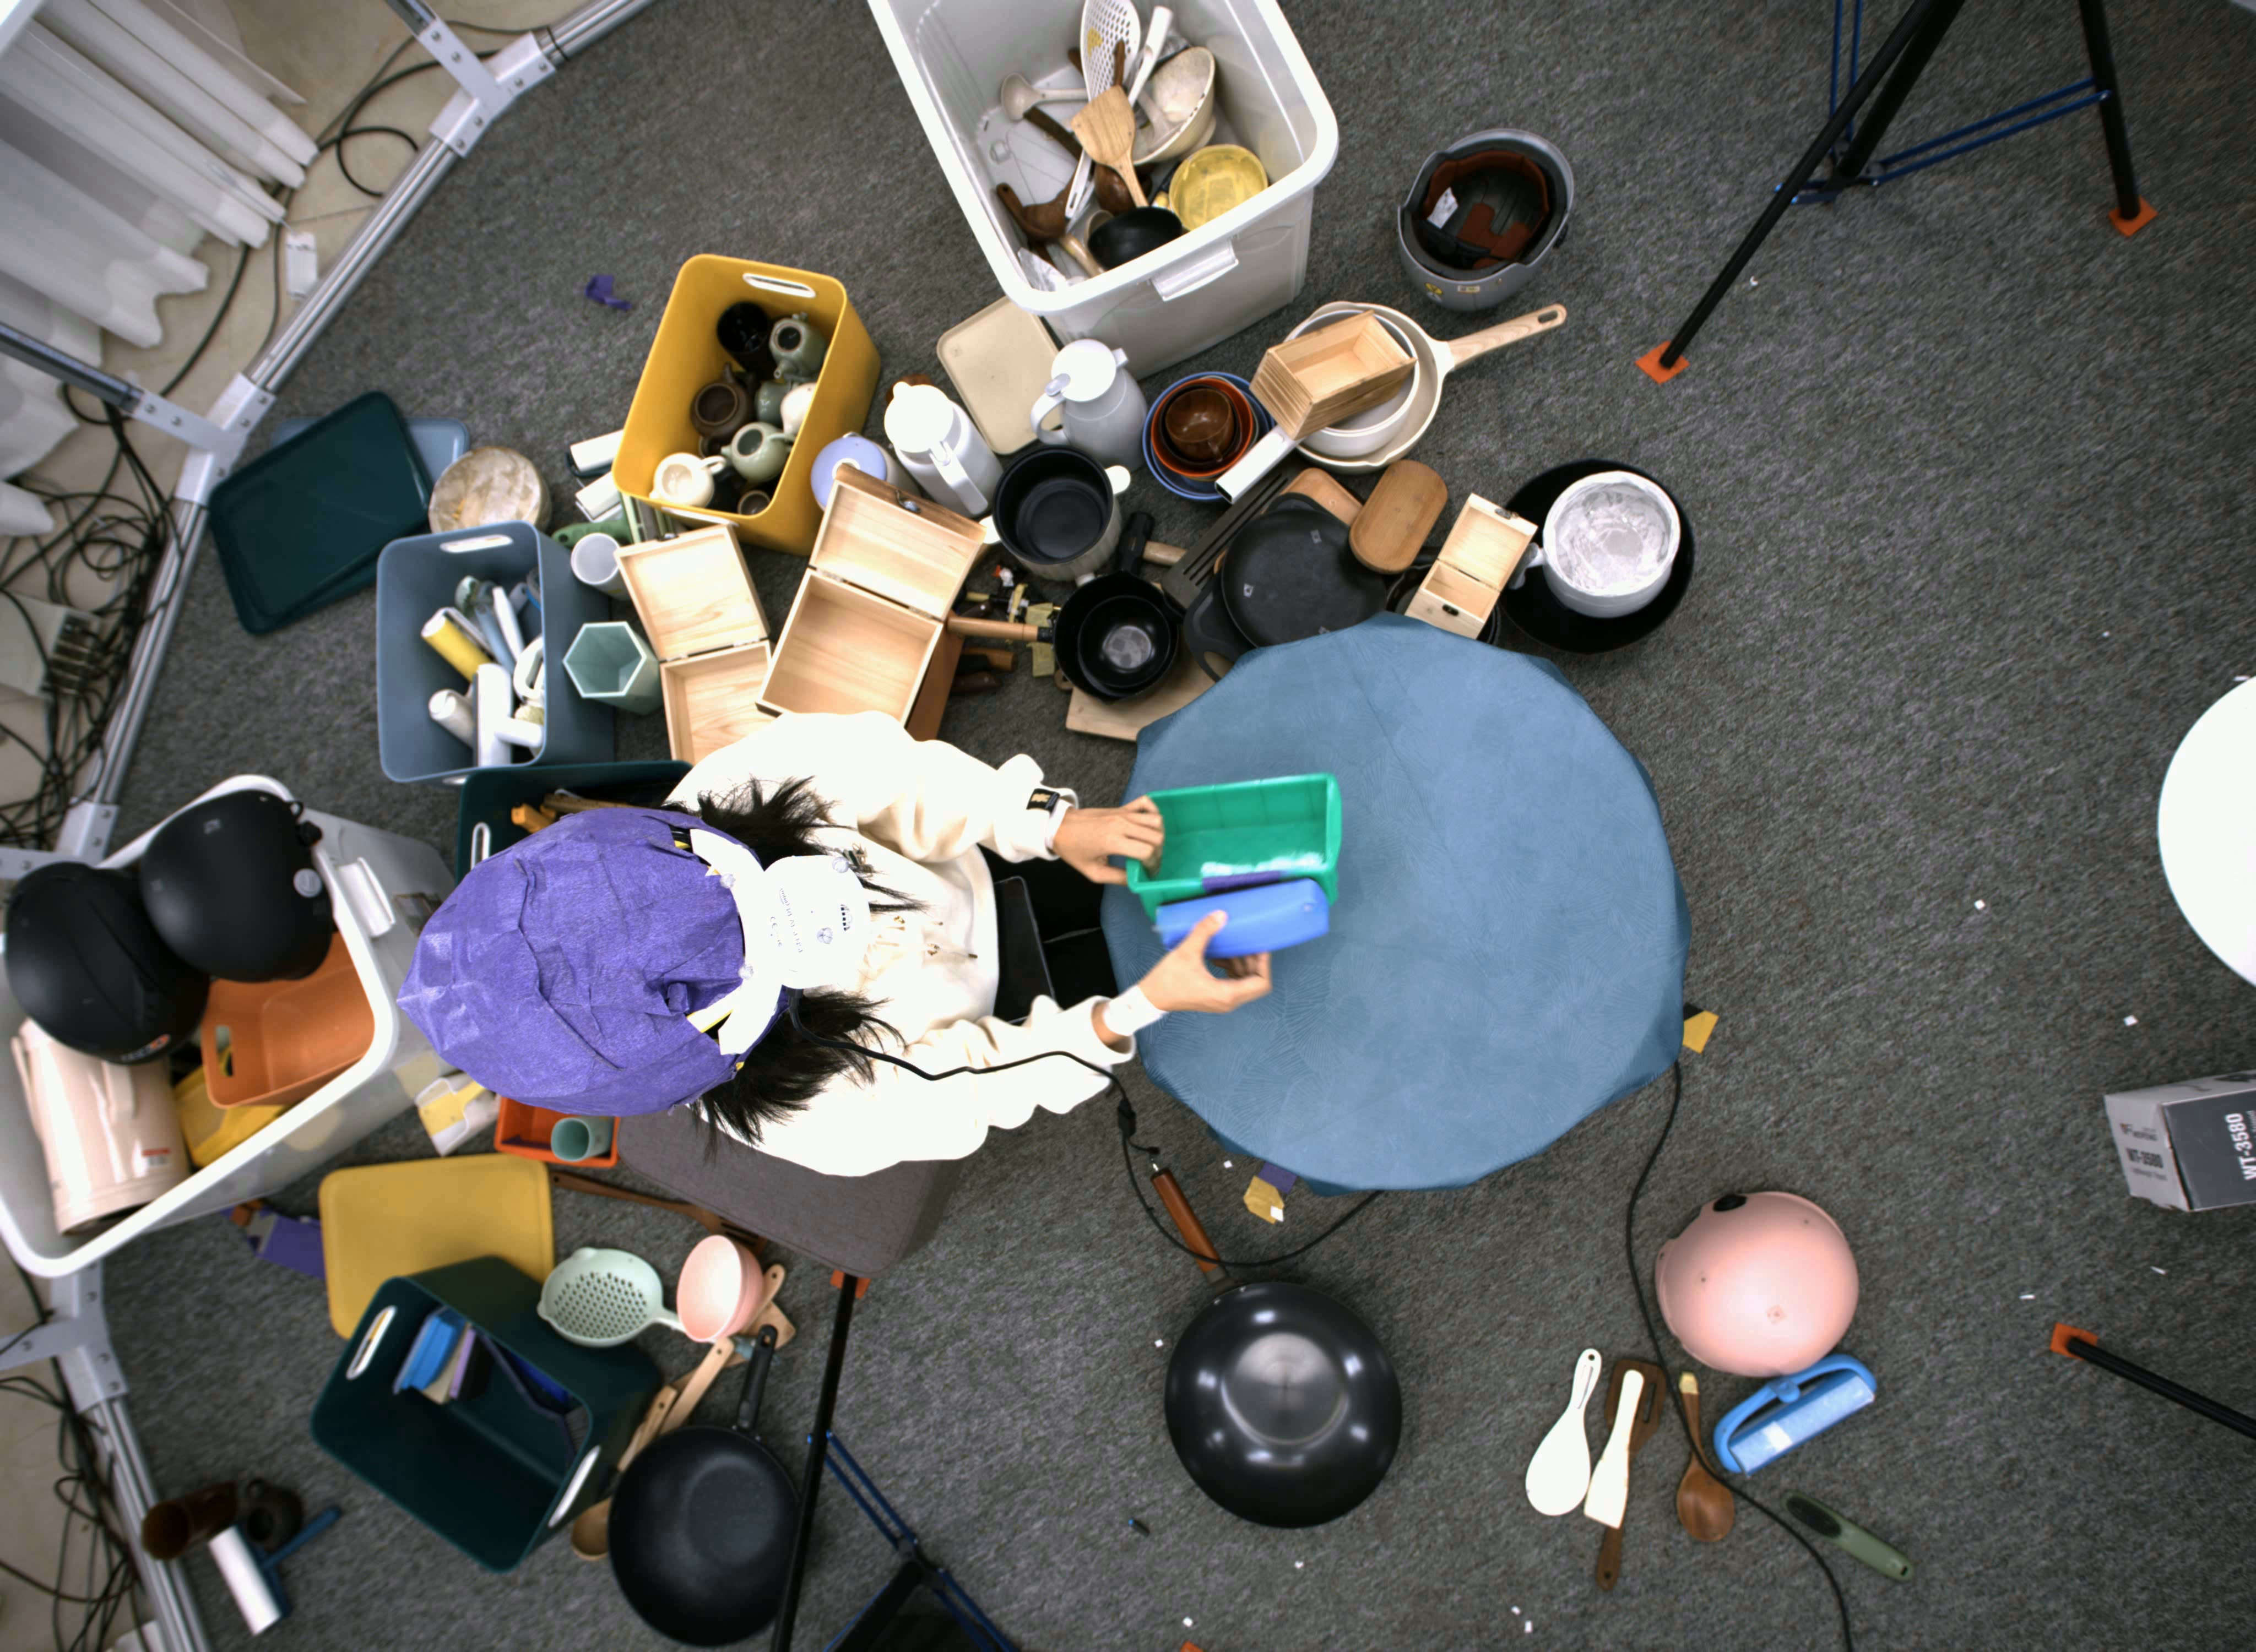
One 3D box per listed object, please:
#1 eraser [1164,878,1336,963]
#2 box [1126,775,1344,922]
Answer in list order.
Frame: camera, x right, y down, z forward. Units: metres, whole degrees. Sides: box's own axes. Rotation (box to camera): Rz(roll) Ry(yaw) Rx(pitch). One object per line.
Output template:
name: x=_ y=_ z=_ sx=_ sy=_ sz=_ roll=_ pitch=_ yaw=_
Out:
eraser: x=0.113 y=0.093 z=1.303 sx=0.164 sy=0.055 sz=0.046 roll=-12 pitch=44 yaw=21
box: x=0.109 y=0.025 z=1.357 sx=0.211 sy=0.067 sz=0.135 roll=-5 pitch=45 yaw=13
